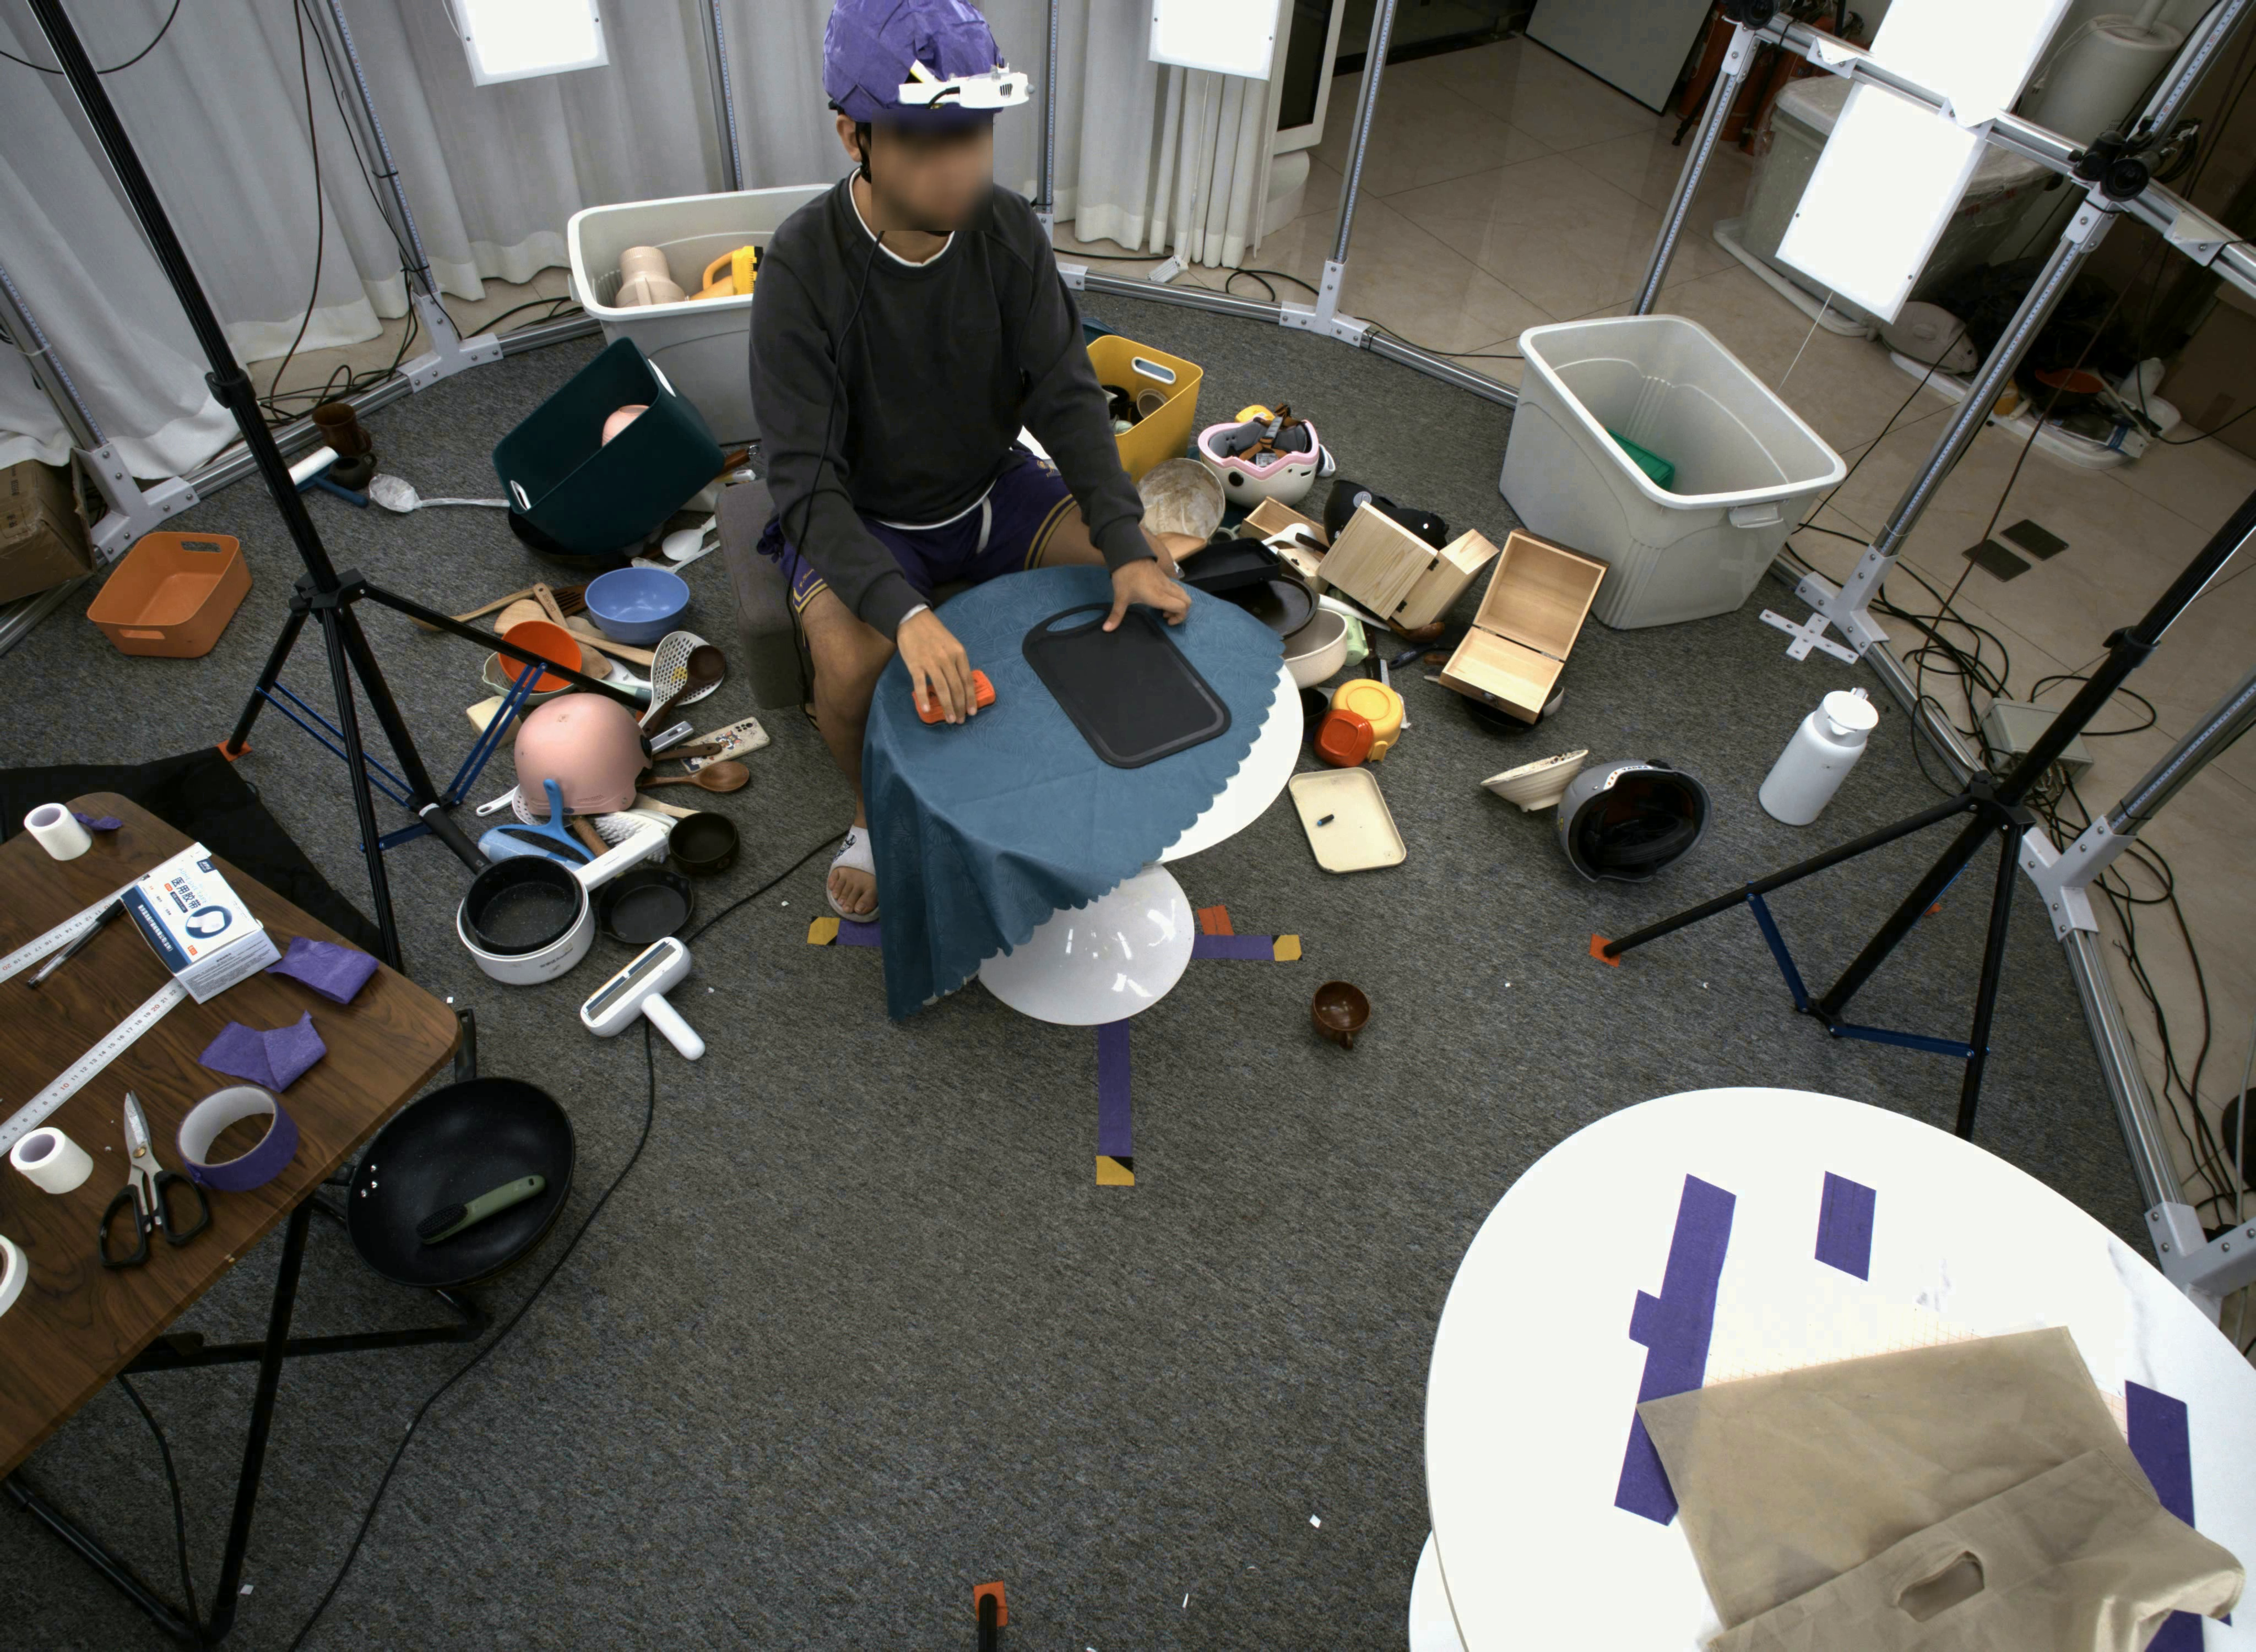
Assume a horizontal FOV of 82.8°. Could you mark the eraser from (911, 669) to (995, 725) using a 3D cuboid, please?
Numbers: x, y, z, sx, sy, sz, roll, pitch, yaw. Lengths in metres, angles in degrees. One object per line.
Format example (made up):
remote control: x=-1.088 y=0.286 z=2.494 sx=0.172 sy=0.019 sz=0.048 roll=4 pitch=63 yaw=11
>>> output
eraser: x=-0.242 y=-0.180 z=1.787 sx=0.108 sy=0.022 sz=0.060 roll=-20 pitch=53 yaw=-22

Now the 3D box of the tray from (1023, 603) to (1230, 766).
tray: x=-0.010 y=-0.216 z=1.849 sx=0.211 sy=0.009 sz=0.332 roll=-21 pitch=53 yaw=-21
